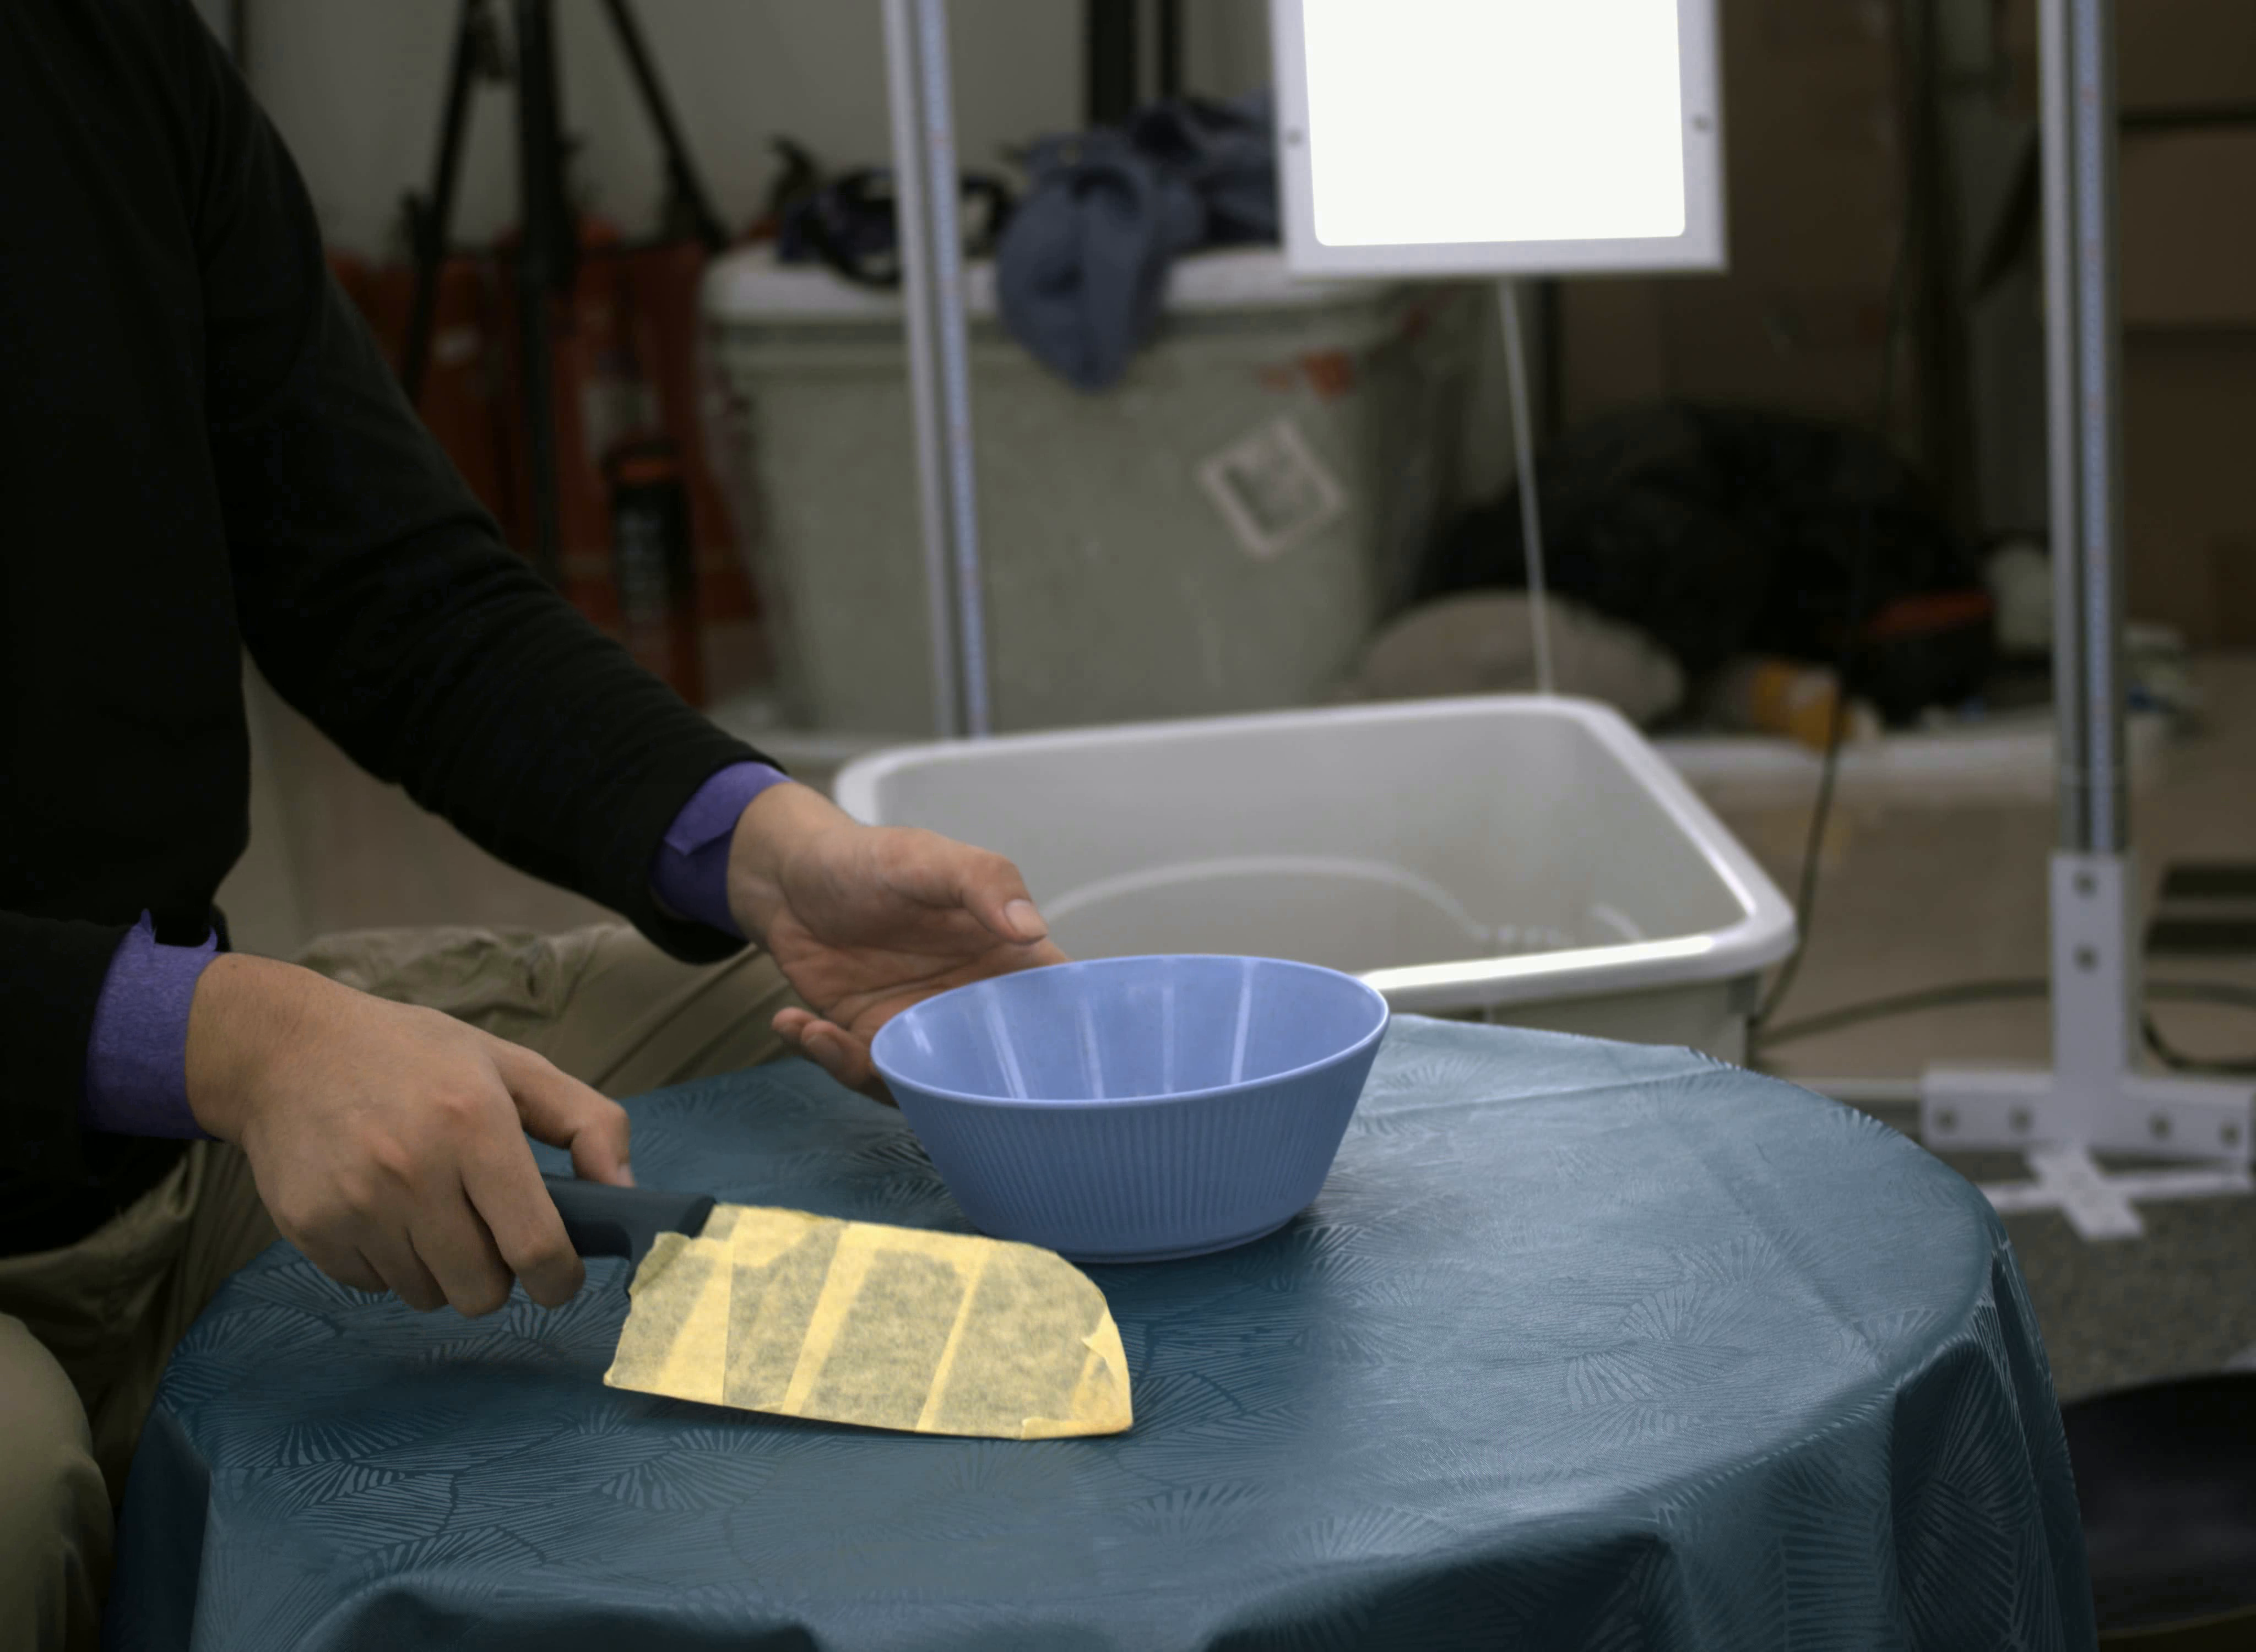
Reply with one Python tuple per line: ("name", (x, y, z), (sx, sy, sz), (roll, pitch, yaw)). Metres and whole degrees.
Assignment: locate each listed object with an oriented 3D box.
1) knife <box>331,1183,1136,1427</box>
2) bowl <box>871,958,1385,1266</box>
("knife", (-0.129, 0.150, 1.732), (0.294, 0.027, 0.080), (7, 50, 25))
("bowl", (0.003, 0.099, 1.865), (0.175, 0.070, 0.176), (-5, 14, 0))
